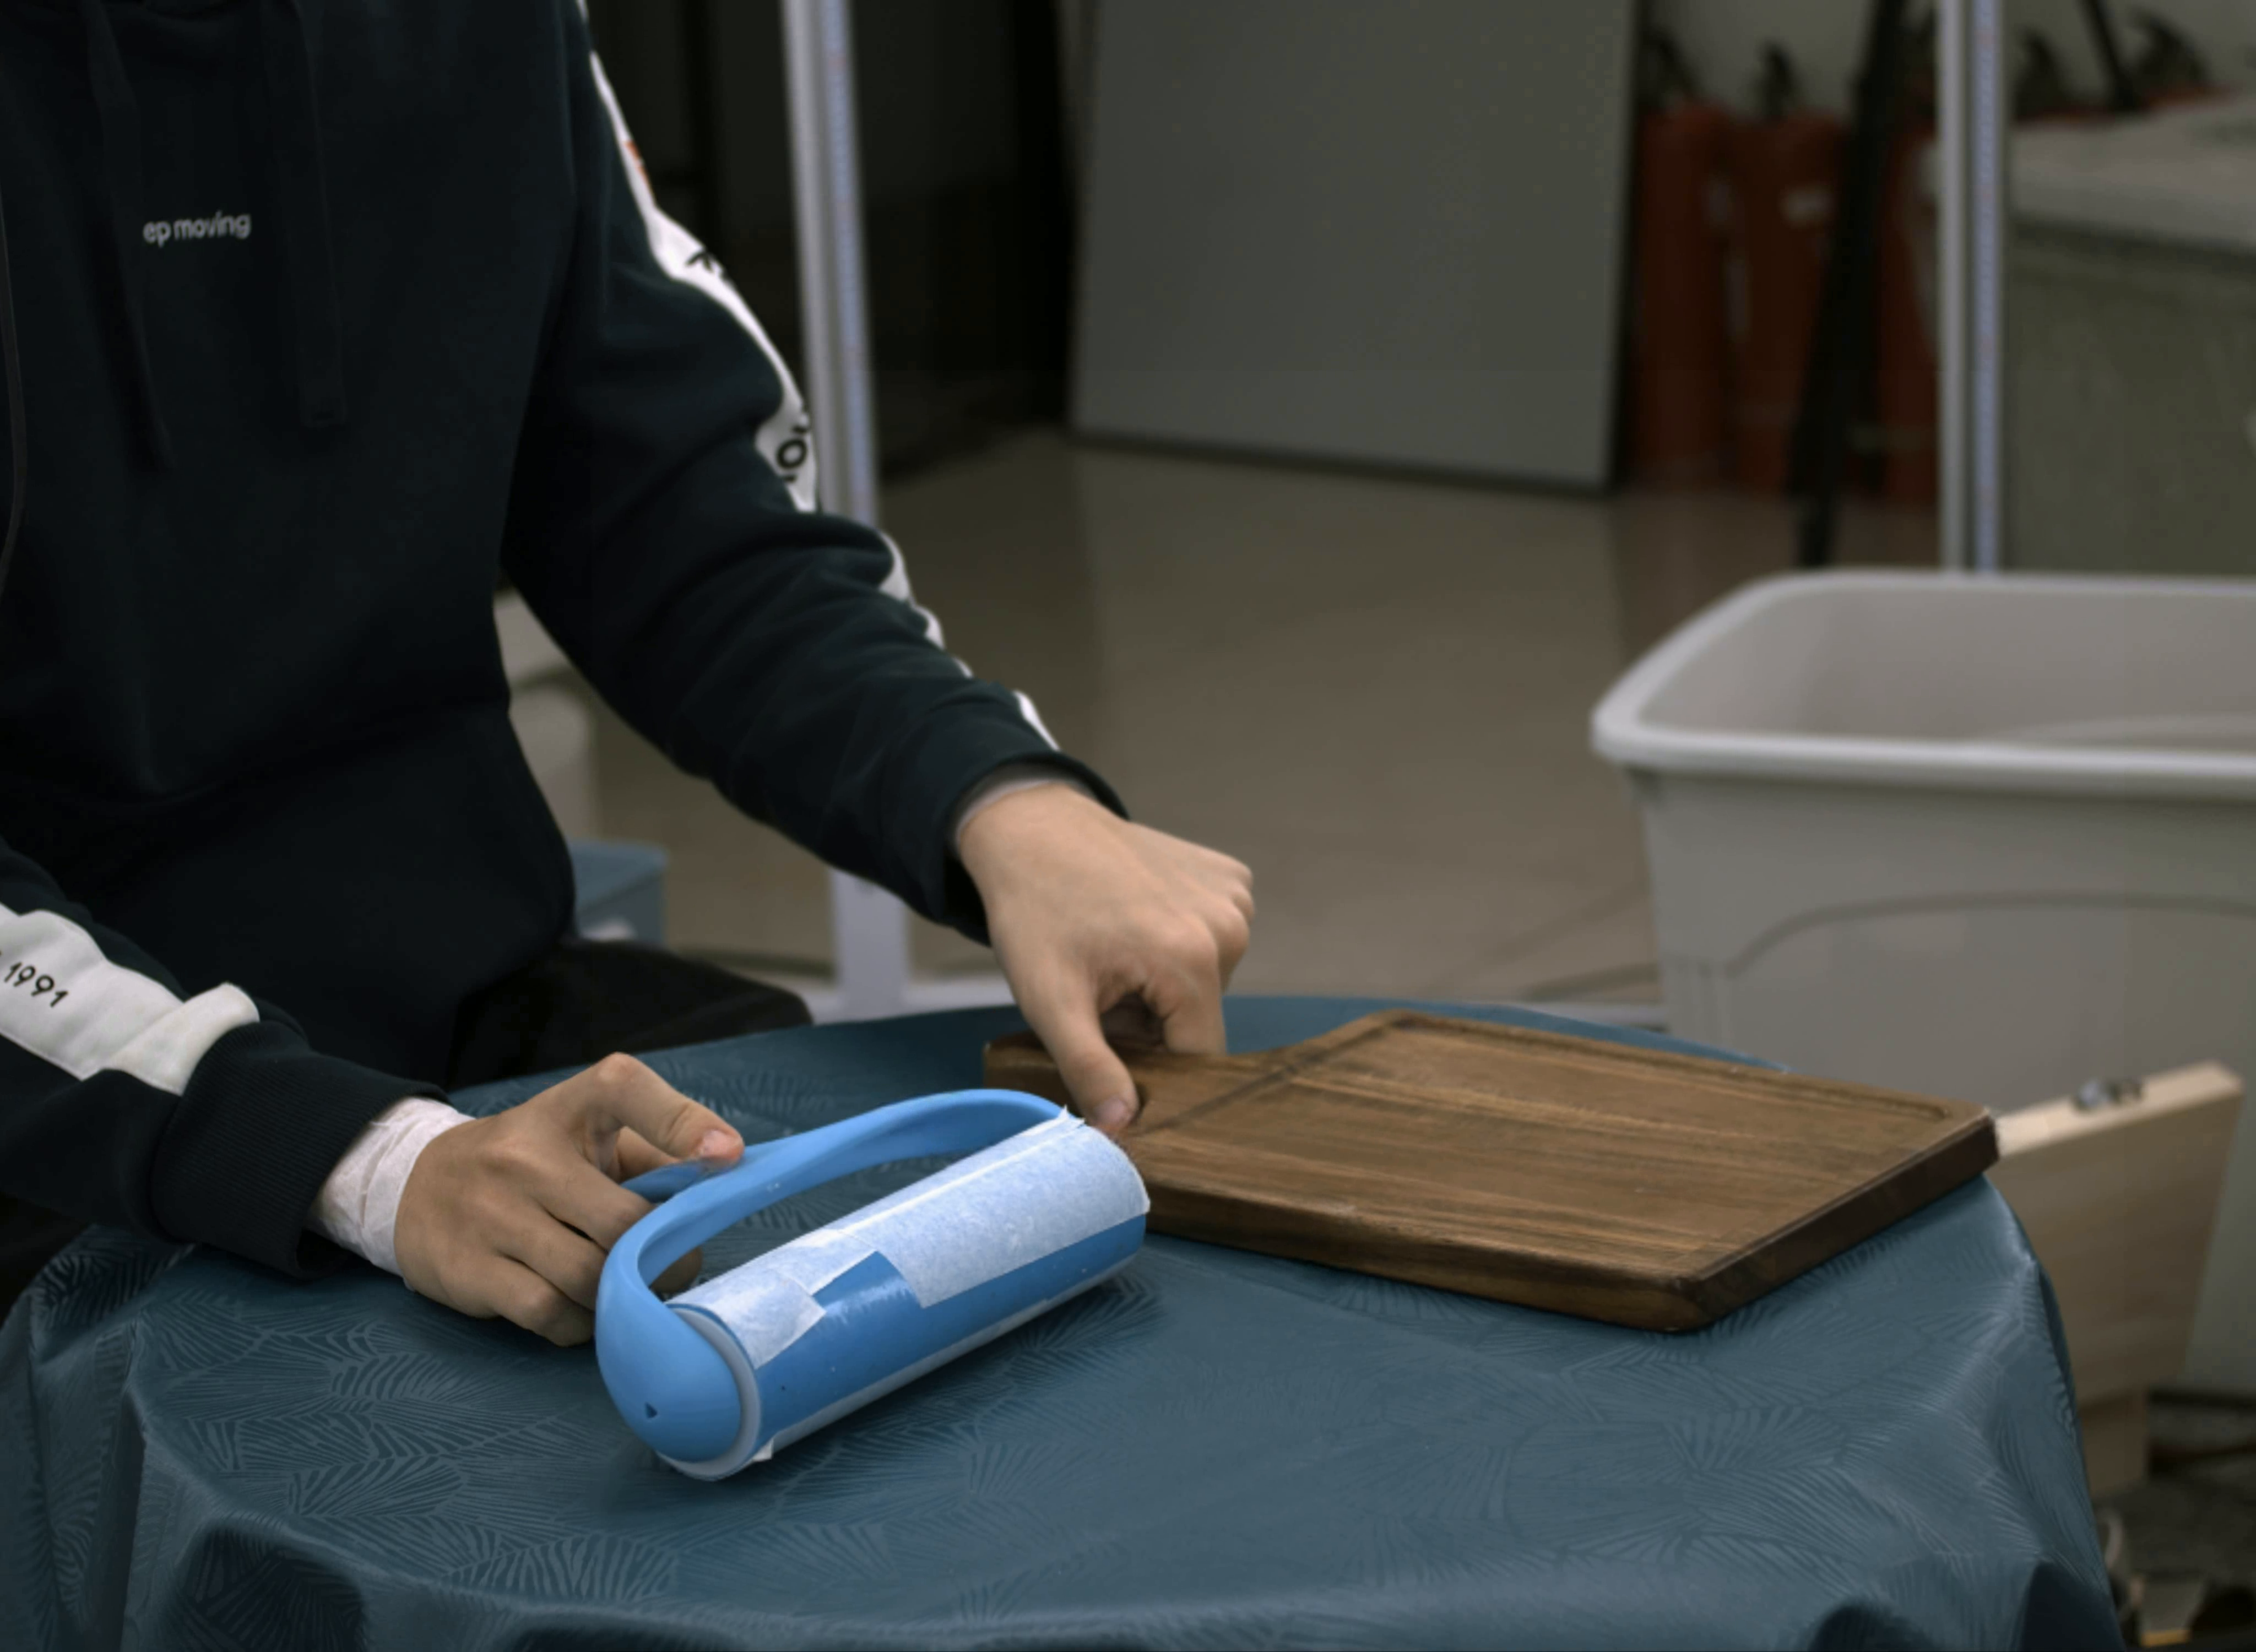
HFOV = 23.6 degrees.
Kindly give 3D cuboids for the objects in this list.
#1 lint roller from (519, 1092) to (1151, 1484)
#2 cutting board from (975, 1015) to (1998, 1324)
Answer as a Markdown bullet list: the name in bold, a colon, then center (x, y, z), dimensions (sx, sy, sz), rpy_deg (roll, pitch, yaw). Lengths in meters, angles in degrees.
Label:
- **lint roller**: center (-0.117, 0.133, 1.640), dimensions (0.181, 0.068, 0.225), rpy_deg (6, 18, 33)
- **cutting board**: center (0.091, 0.102, 1.774), dimensions (0.355, 0.023, 0.197), rpy_deg (7, 17, 38)
